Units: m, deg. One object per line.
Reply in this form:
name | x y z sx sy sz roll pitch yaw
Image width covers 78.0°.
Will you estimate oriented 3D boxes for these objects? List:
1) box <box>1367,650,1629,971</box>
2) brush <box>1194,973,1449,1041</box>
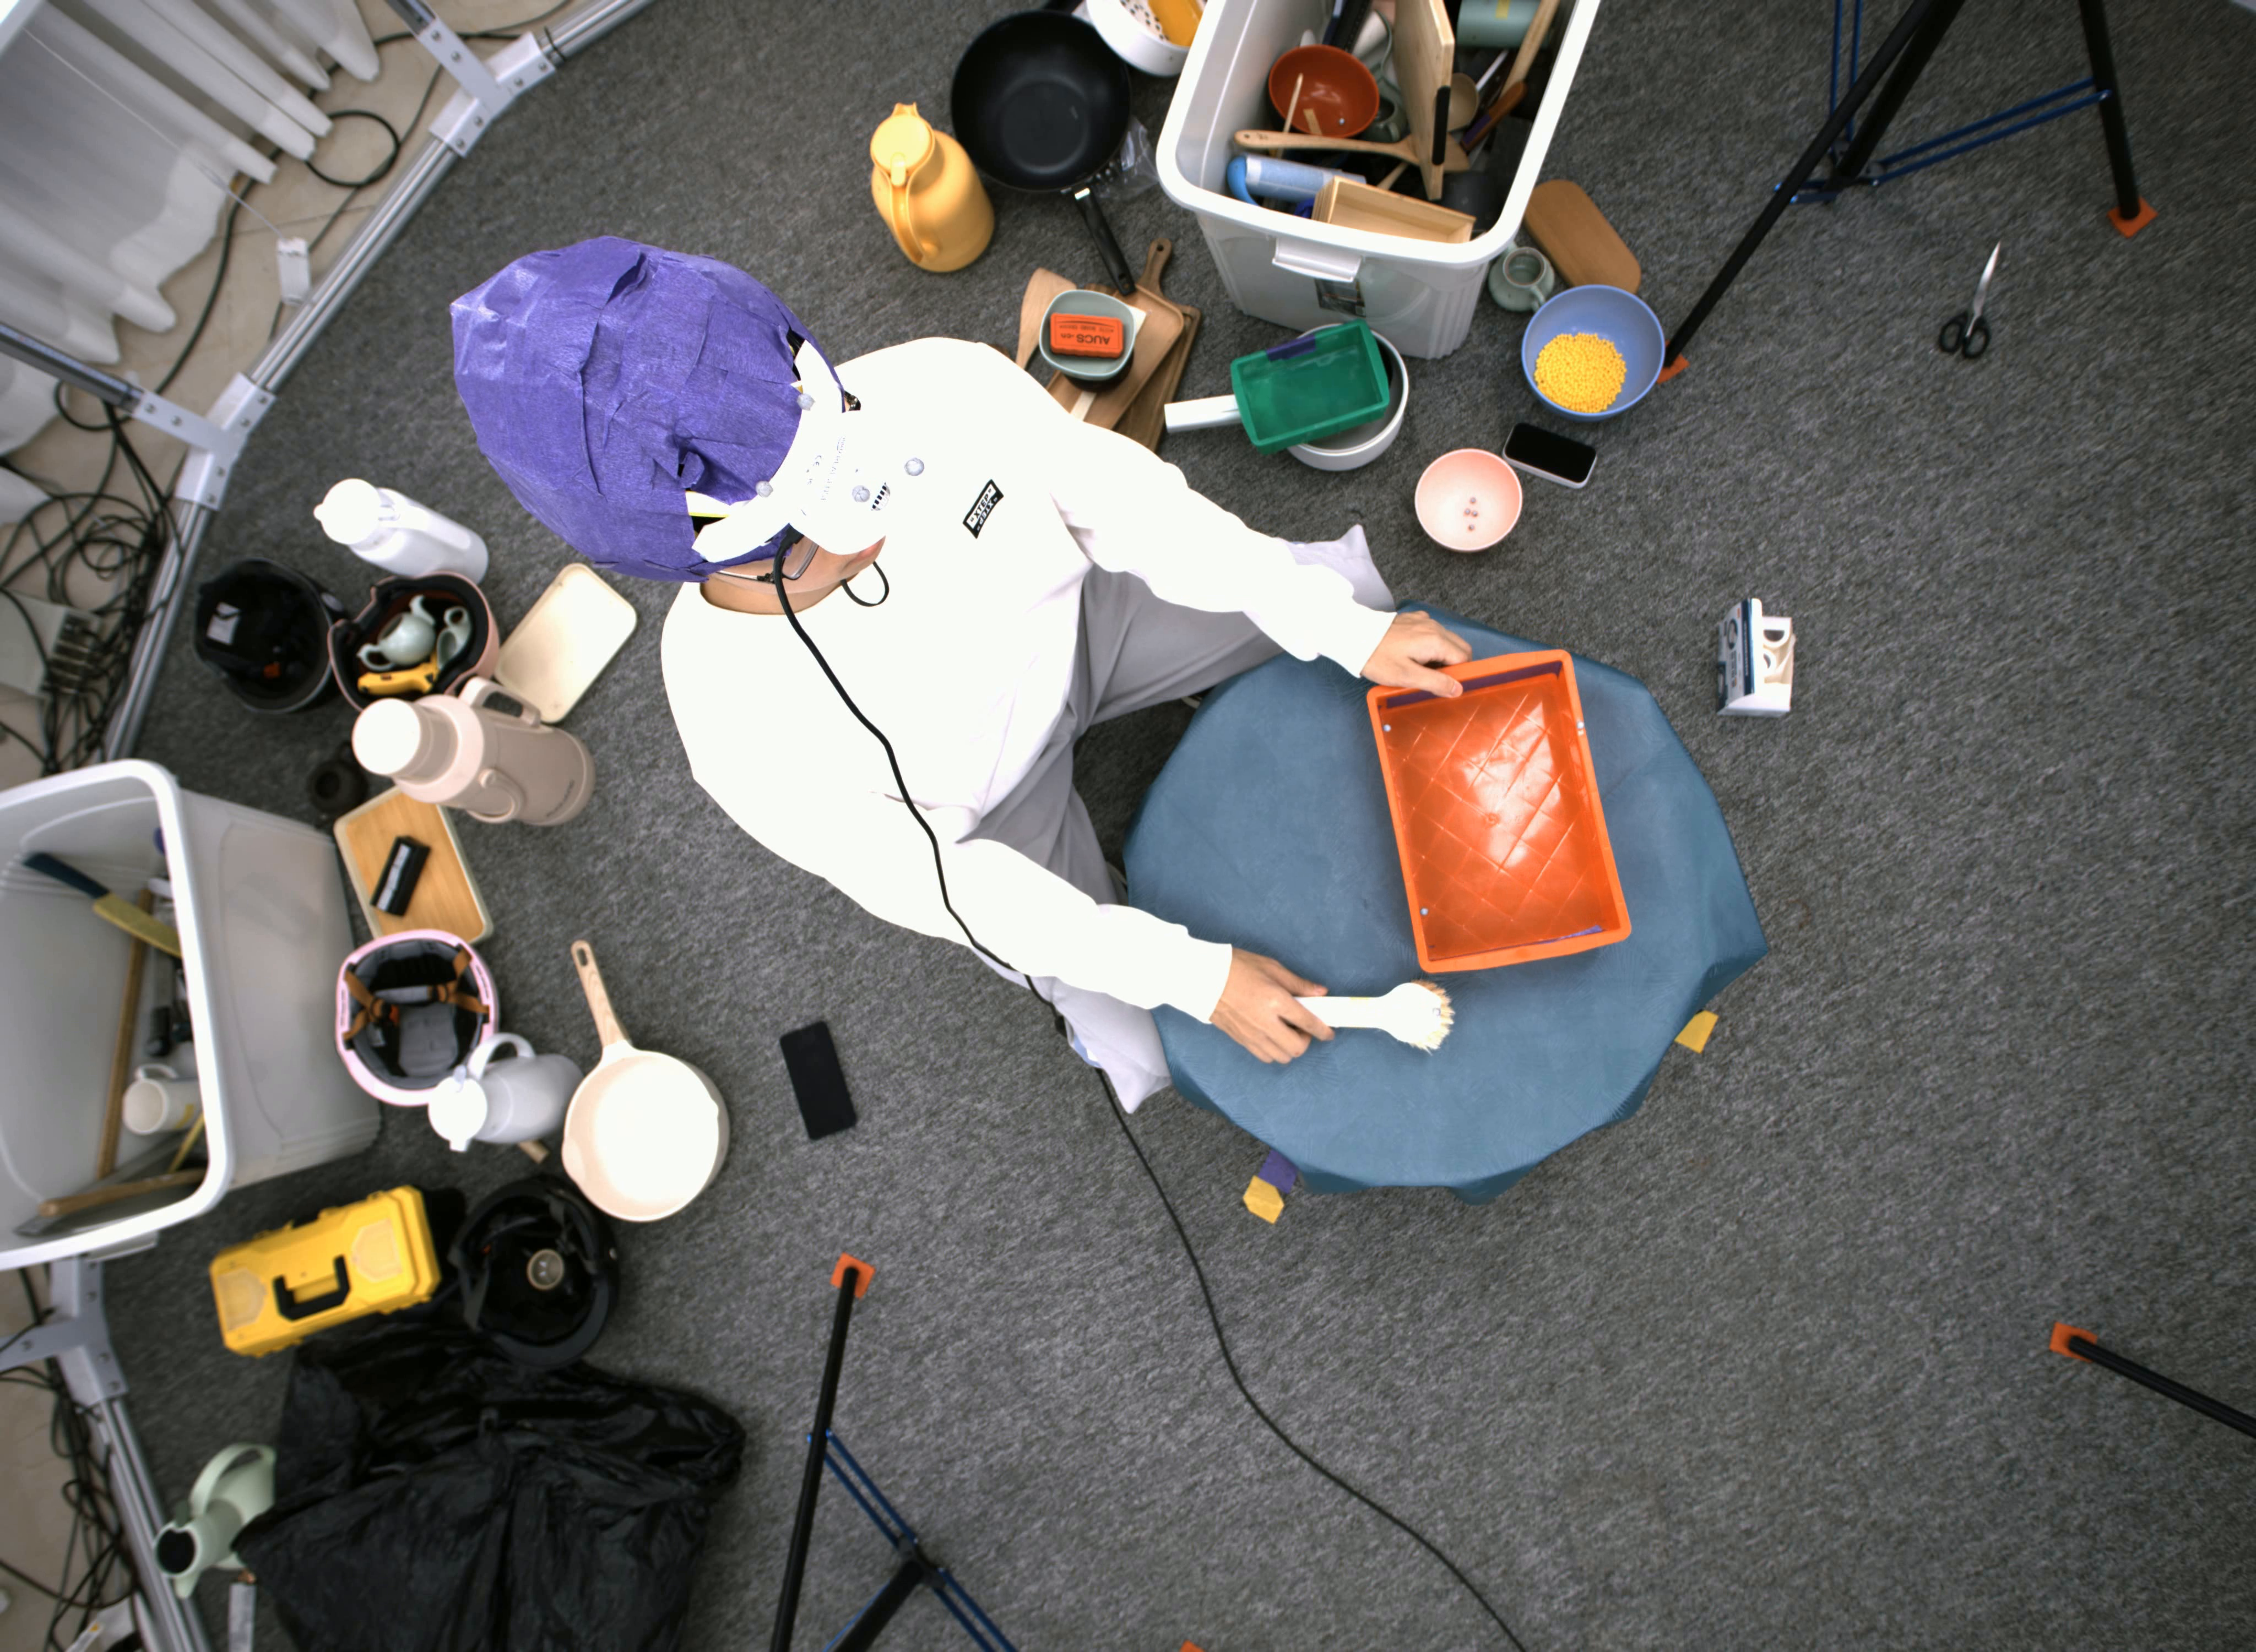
box | 0.372 -0.012 1.399 0.208 0.096 0.301 -11 83 12
brush | 0.201 0.186 1.444 0.268 0.056 0.067 -4 70 26
